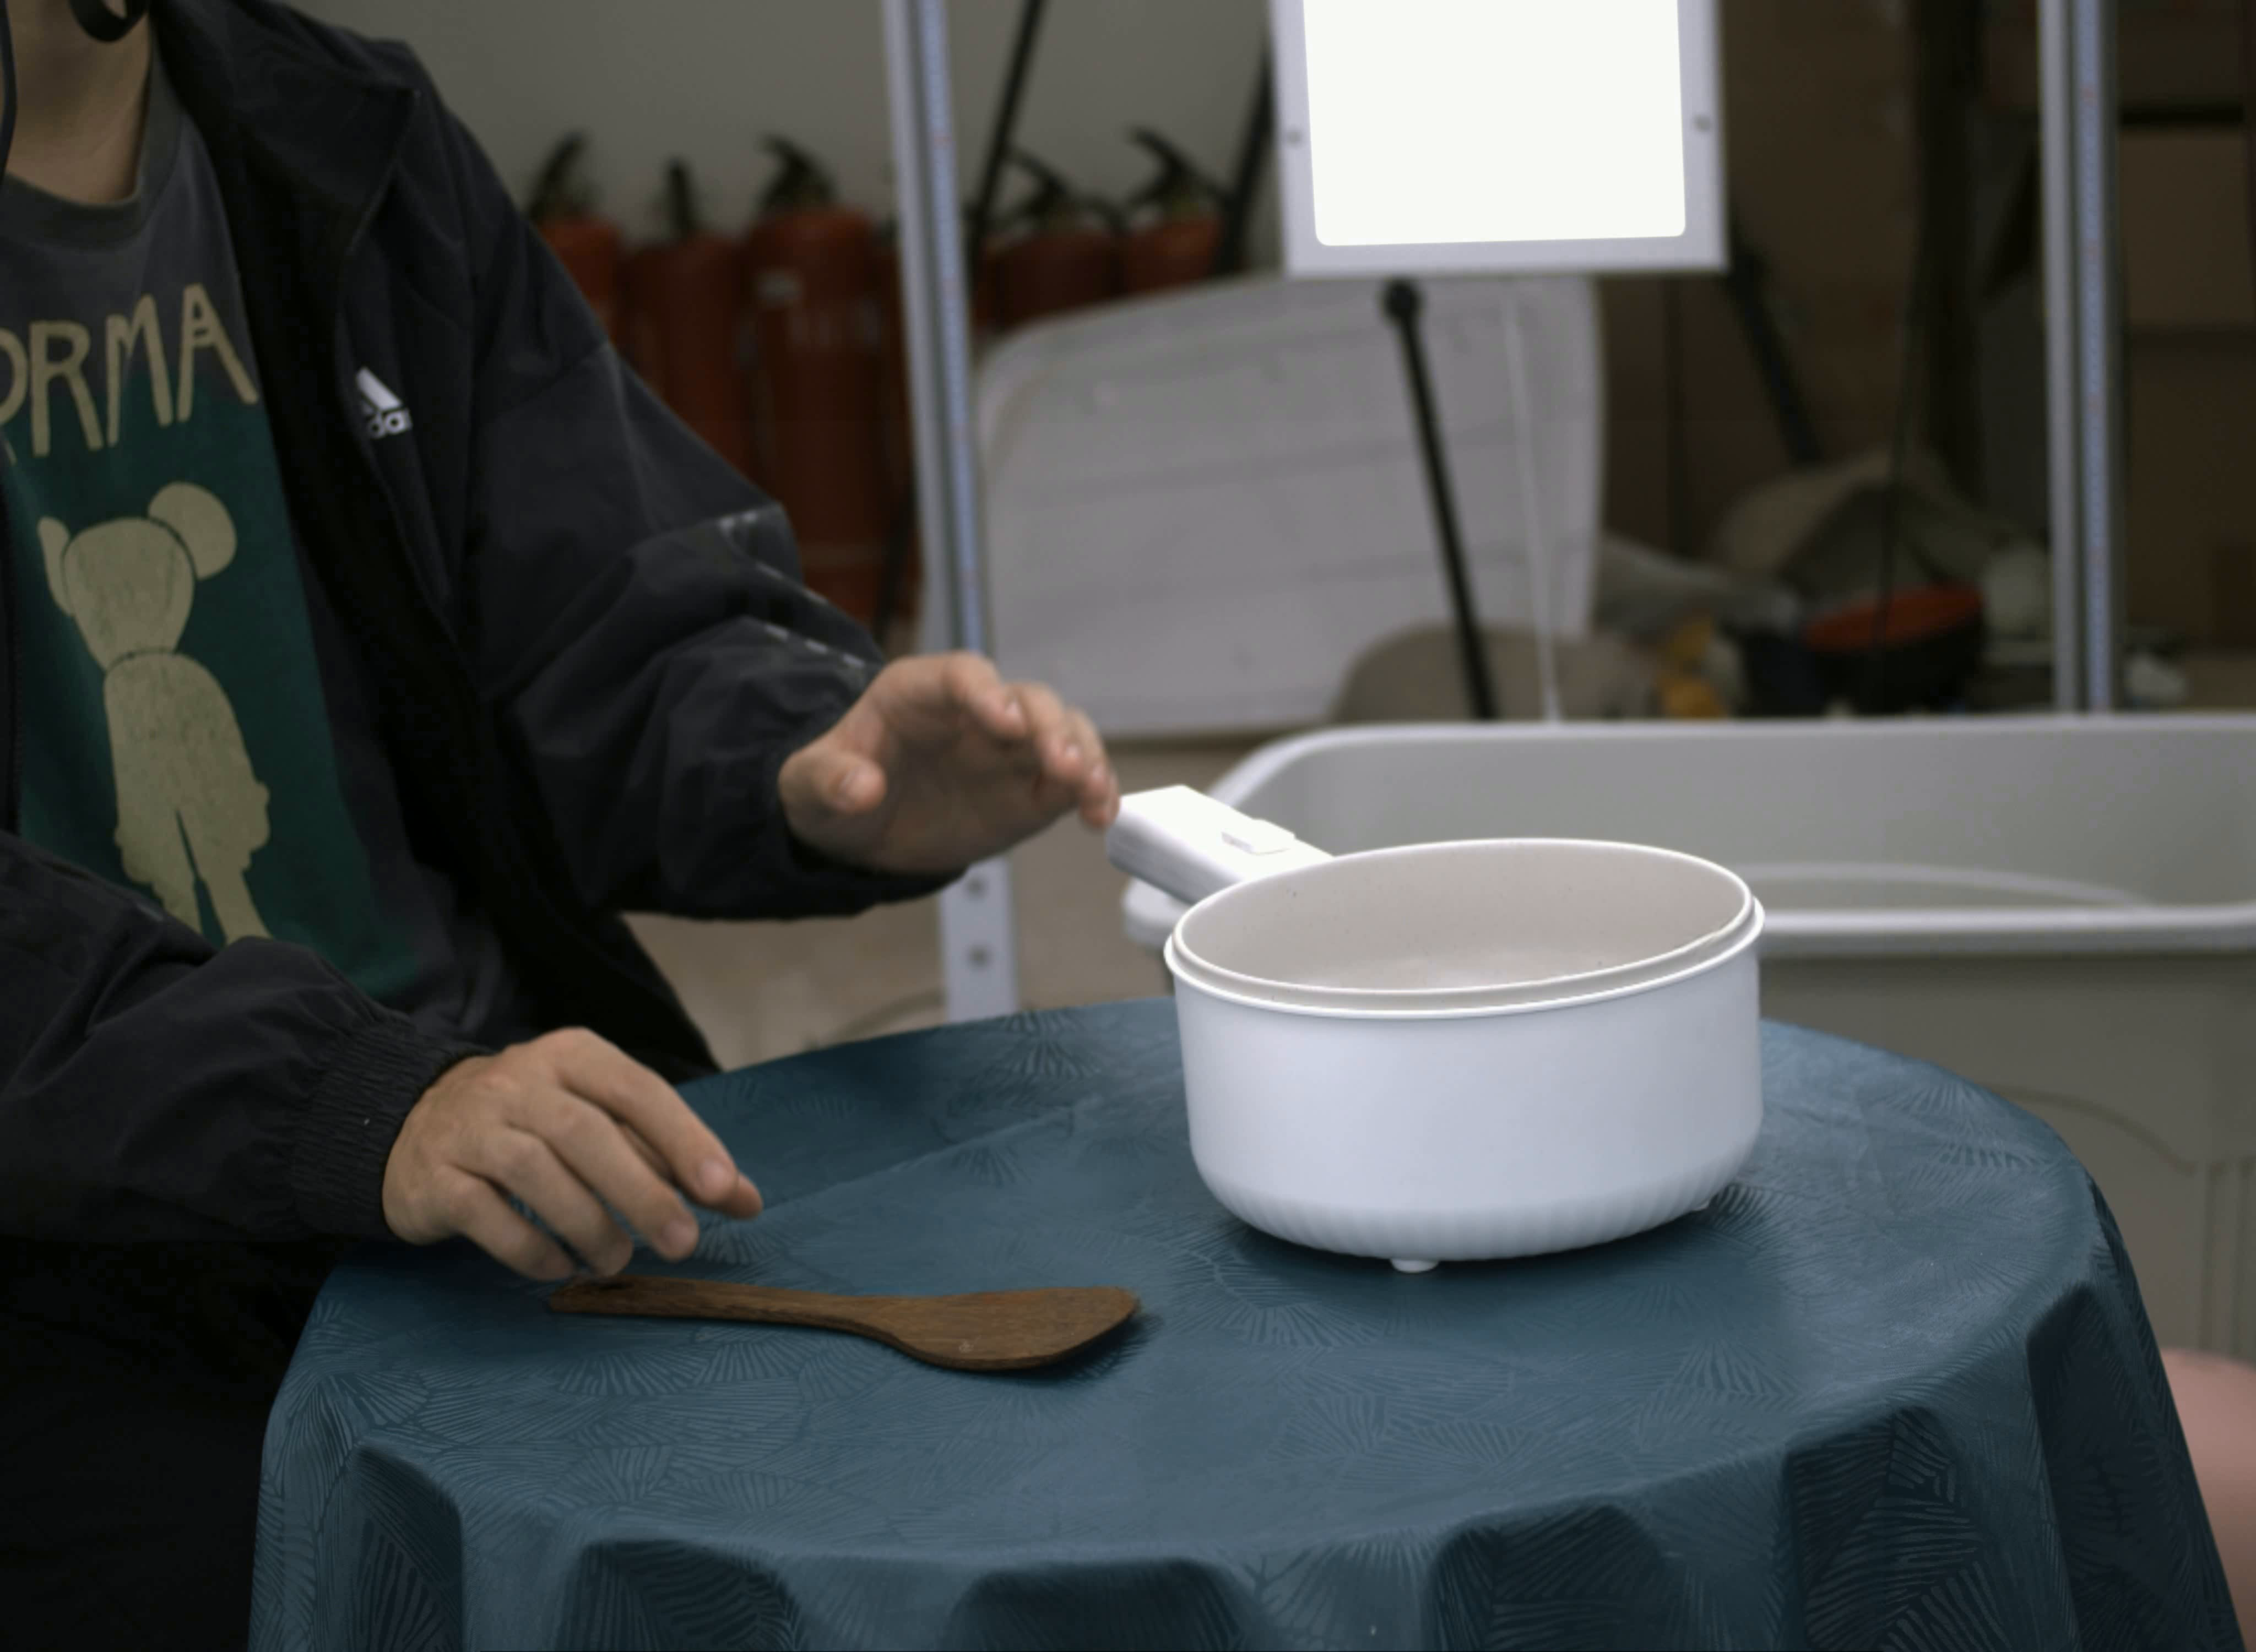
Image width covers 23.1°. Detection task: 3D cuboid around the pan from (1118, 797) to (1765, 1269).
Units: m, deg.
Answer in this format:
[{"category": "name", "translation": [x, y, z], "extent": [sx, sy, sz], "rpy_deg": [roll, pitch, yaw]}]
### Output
[{"category": "pan", "translation": [0.085, 0.065, 1.915], "extent": [0.197, 0.102, 0.360], "rpy_deg": [-11, 13, -21]}]

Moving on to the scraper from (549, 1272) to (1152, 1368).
[{"category": "scraper", "translation": [-0.095, 0.157, 1.789], "extent": [0.215, 0.011, 0.074], "rpy_deg": [2, 14, 29]}]
